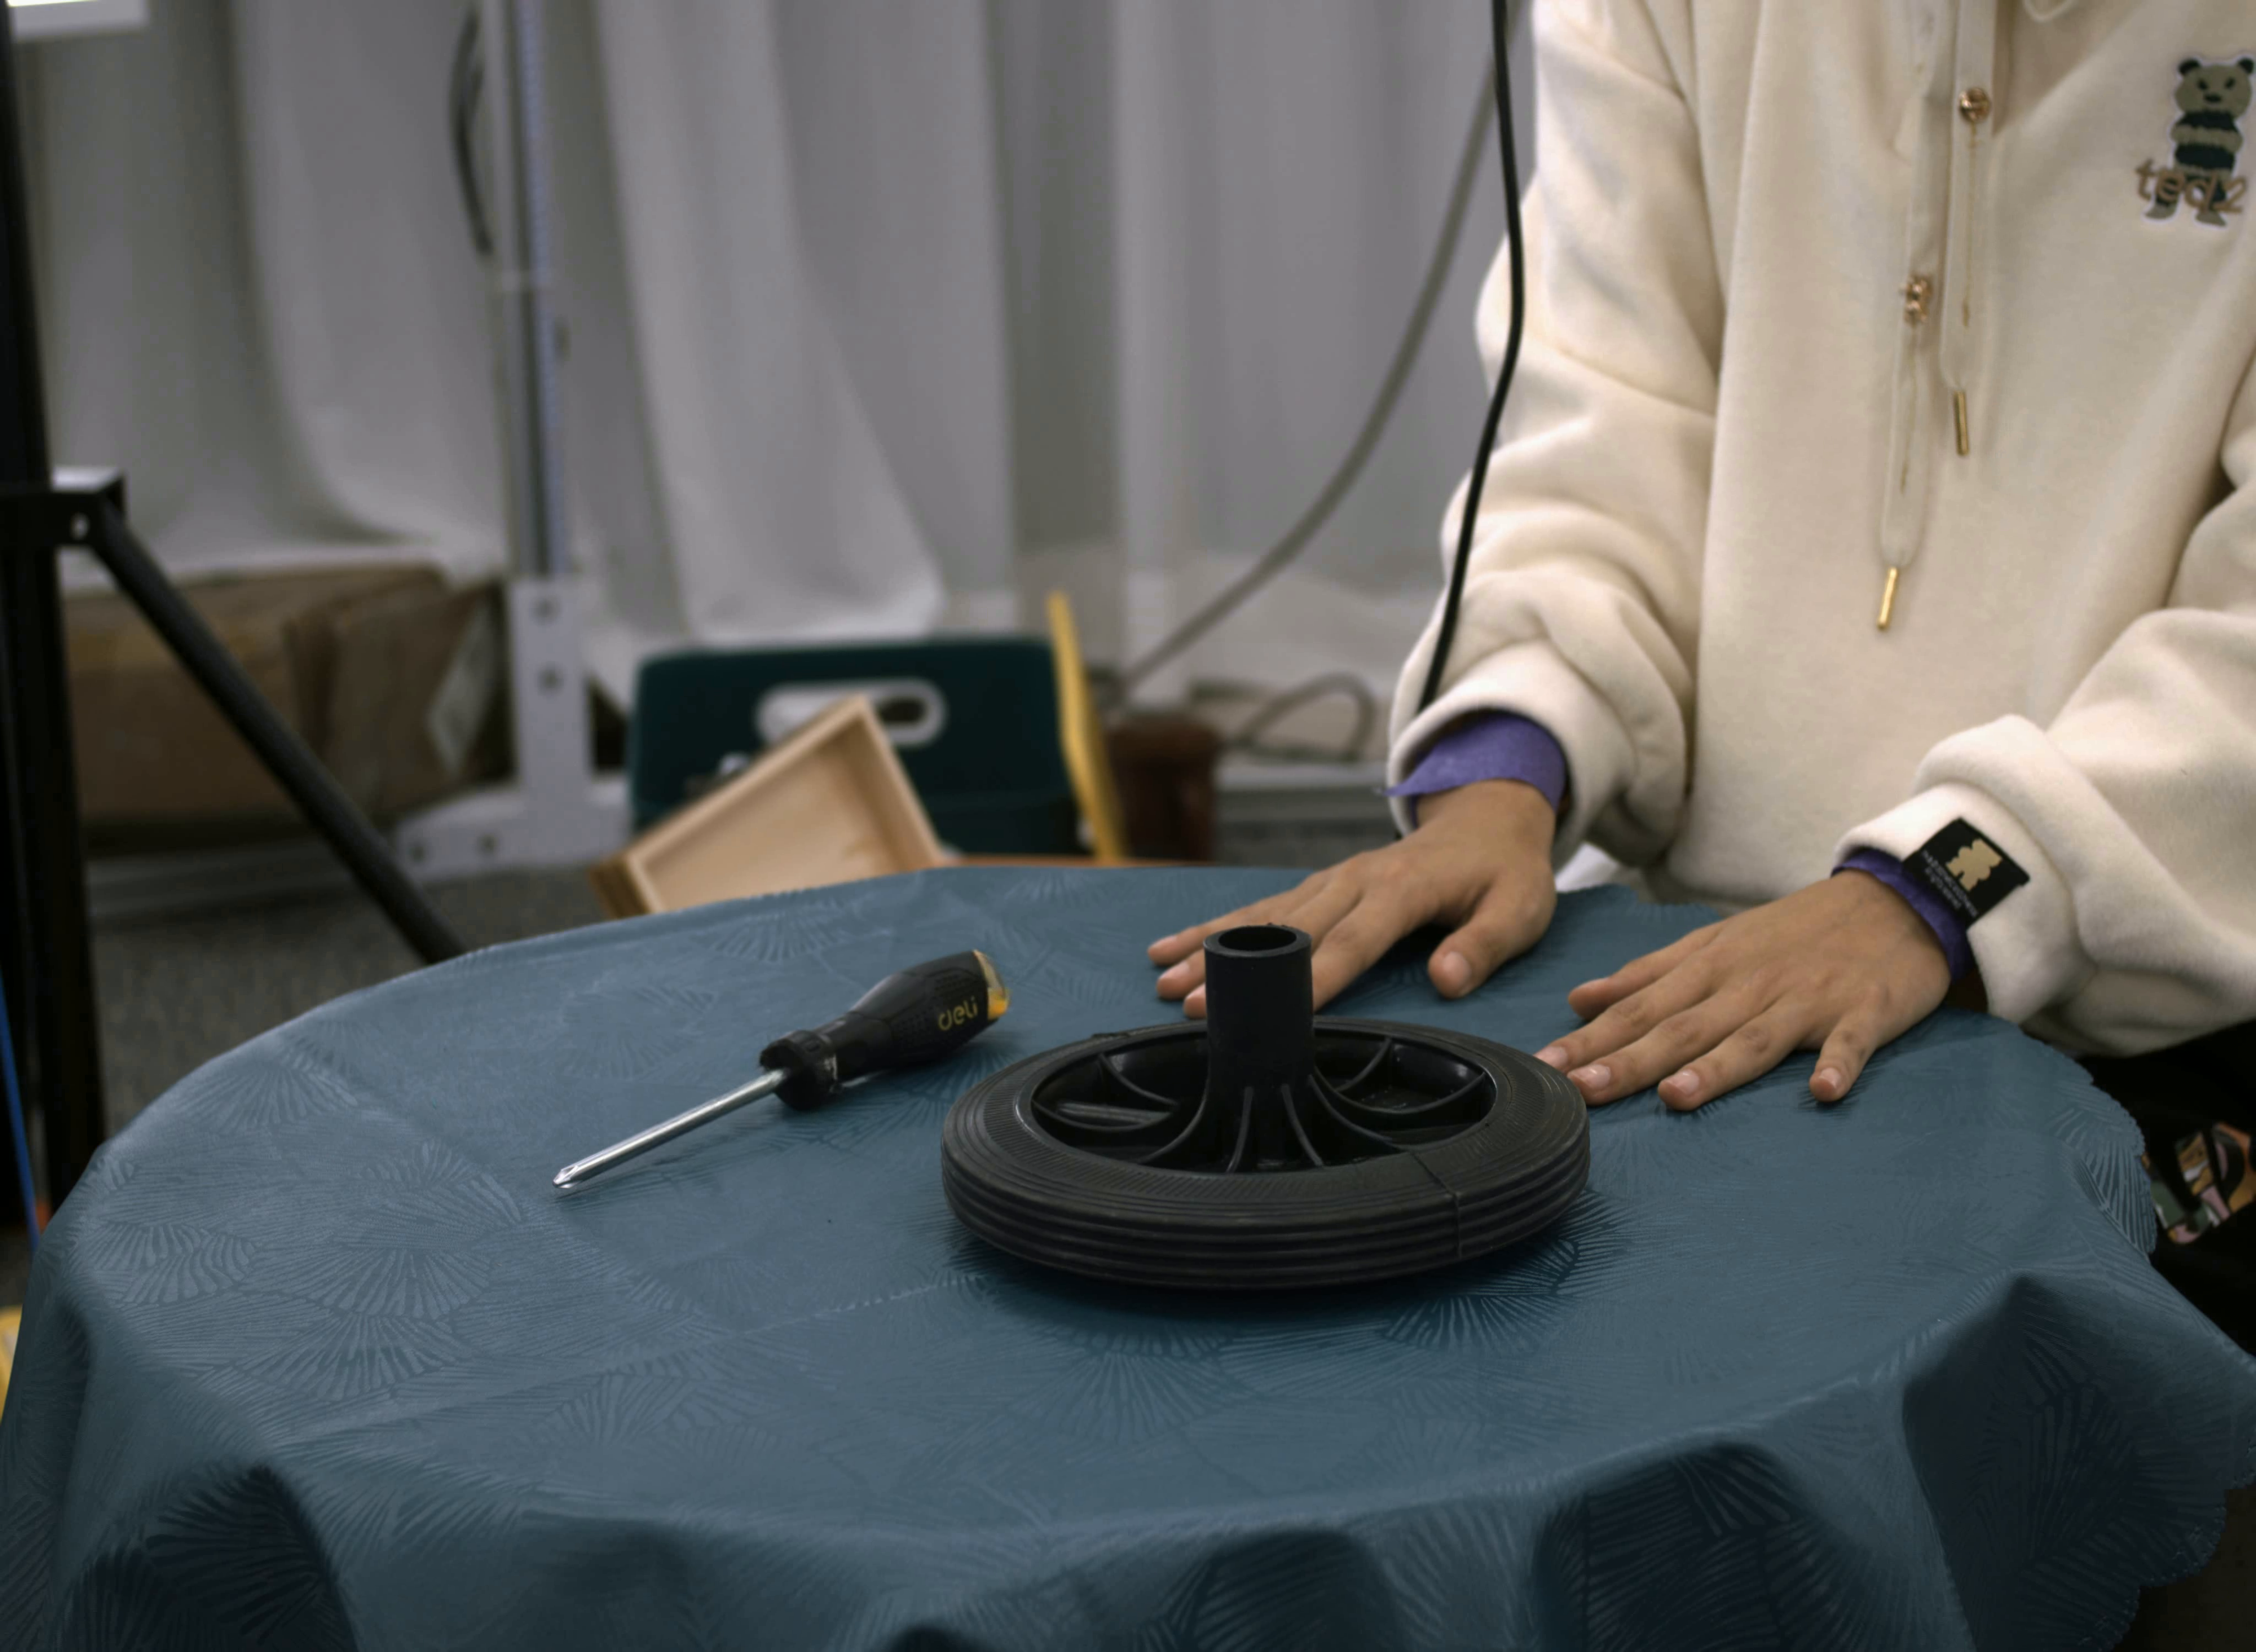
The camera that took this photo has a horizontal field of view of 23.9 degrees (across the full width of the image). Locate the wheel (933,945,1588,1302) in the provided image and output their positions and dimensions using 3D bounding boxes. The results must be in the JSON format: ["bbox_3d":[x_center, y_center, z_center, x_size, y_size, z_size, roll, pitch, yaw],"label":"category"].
[{"bbox_3d":[0.037,0.077,1.528,0.189,0.079,0.187,-3,15,4],"label":"wheel"}]

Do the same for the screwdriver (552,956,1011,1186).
[{"bbox_3d":[-0.104,0.077,1.638,0.032,0.031,0.192,10,22,37],"label":"screwdriver"}]
